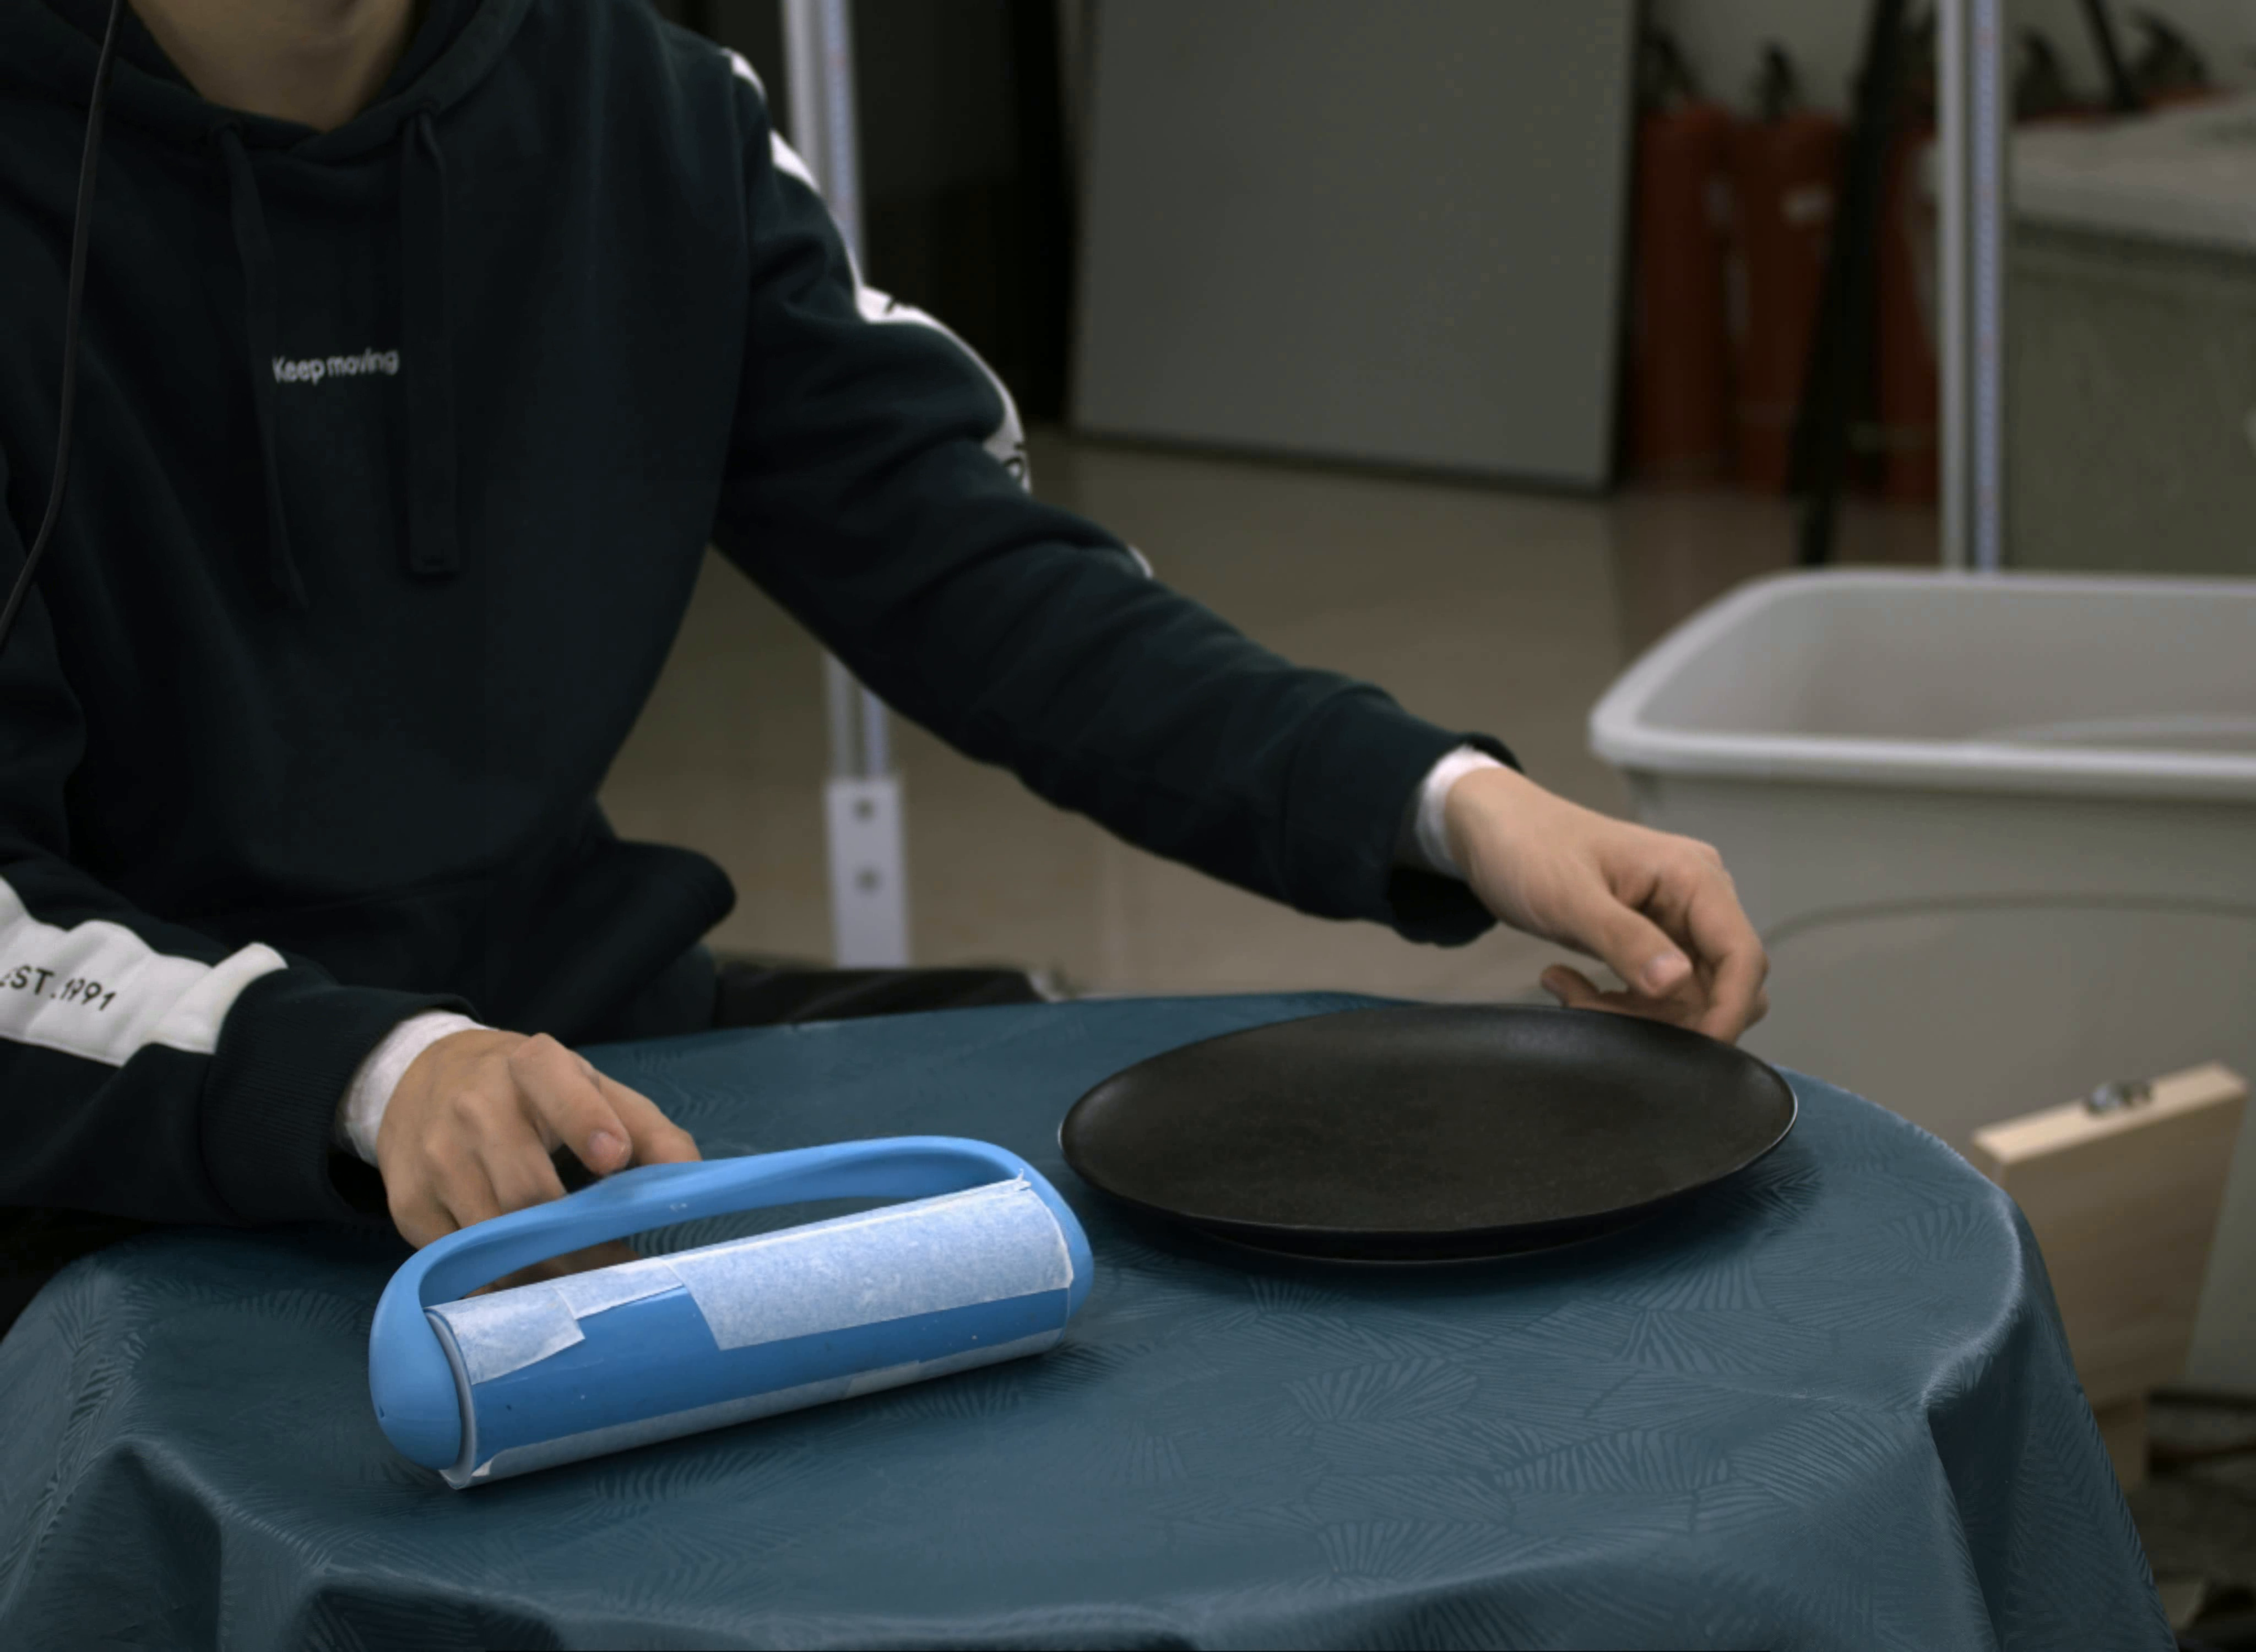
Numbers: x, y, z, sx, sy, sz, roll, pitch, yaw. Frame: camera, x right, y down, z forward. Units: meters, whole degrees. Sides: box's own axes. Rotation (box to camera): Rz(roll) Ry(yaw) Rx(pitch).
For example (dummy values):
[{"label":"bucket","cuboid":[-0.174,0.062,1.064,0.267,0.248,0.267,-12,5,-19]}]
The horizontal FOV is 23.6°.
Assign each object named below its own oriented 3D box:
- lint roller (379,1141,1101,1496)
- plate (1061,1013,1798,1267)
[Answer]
[{"label":"lint roller","cuboid":[-0.140,0.137,1.632,0.224,0.068,0.182,-13,16,-28]},{"label":"plate","cuboid":[0.099,0.105,1.762,0.241,0.024,0.245,-4,14,0]}]
